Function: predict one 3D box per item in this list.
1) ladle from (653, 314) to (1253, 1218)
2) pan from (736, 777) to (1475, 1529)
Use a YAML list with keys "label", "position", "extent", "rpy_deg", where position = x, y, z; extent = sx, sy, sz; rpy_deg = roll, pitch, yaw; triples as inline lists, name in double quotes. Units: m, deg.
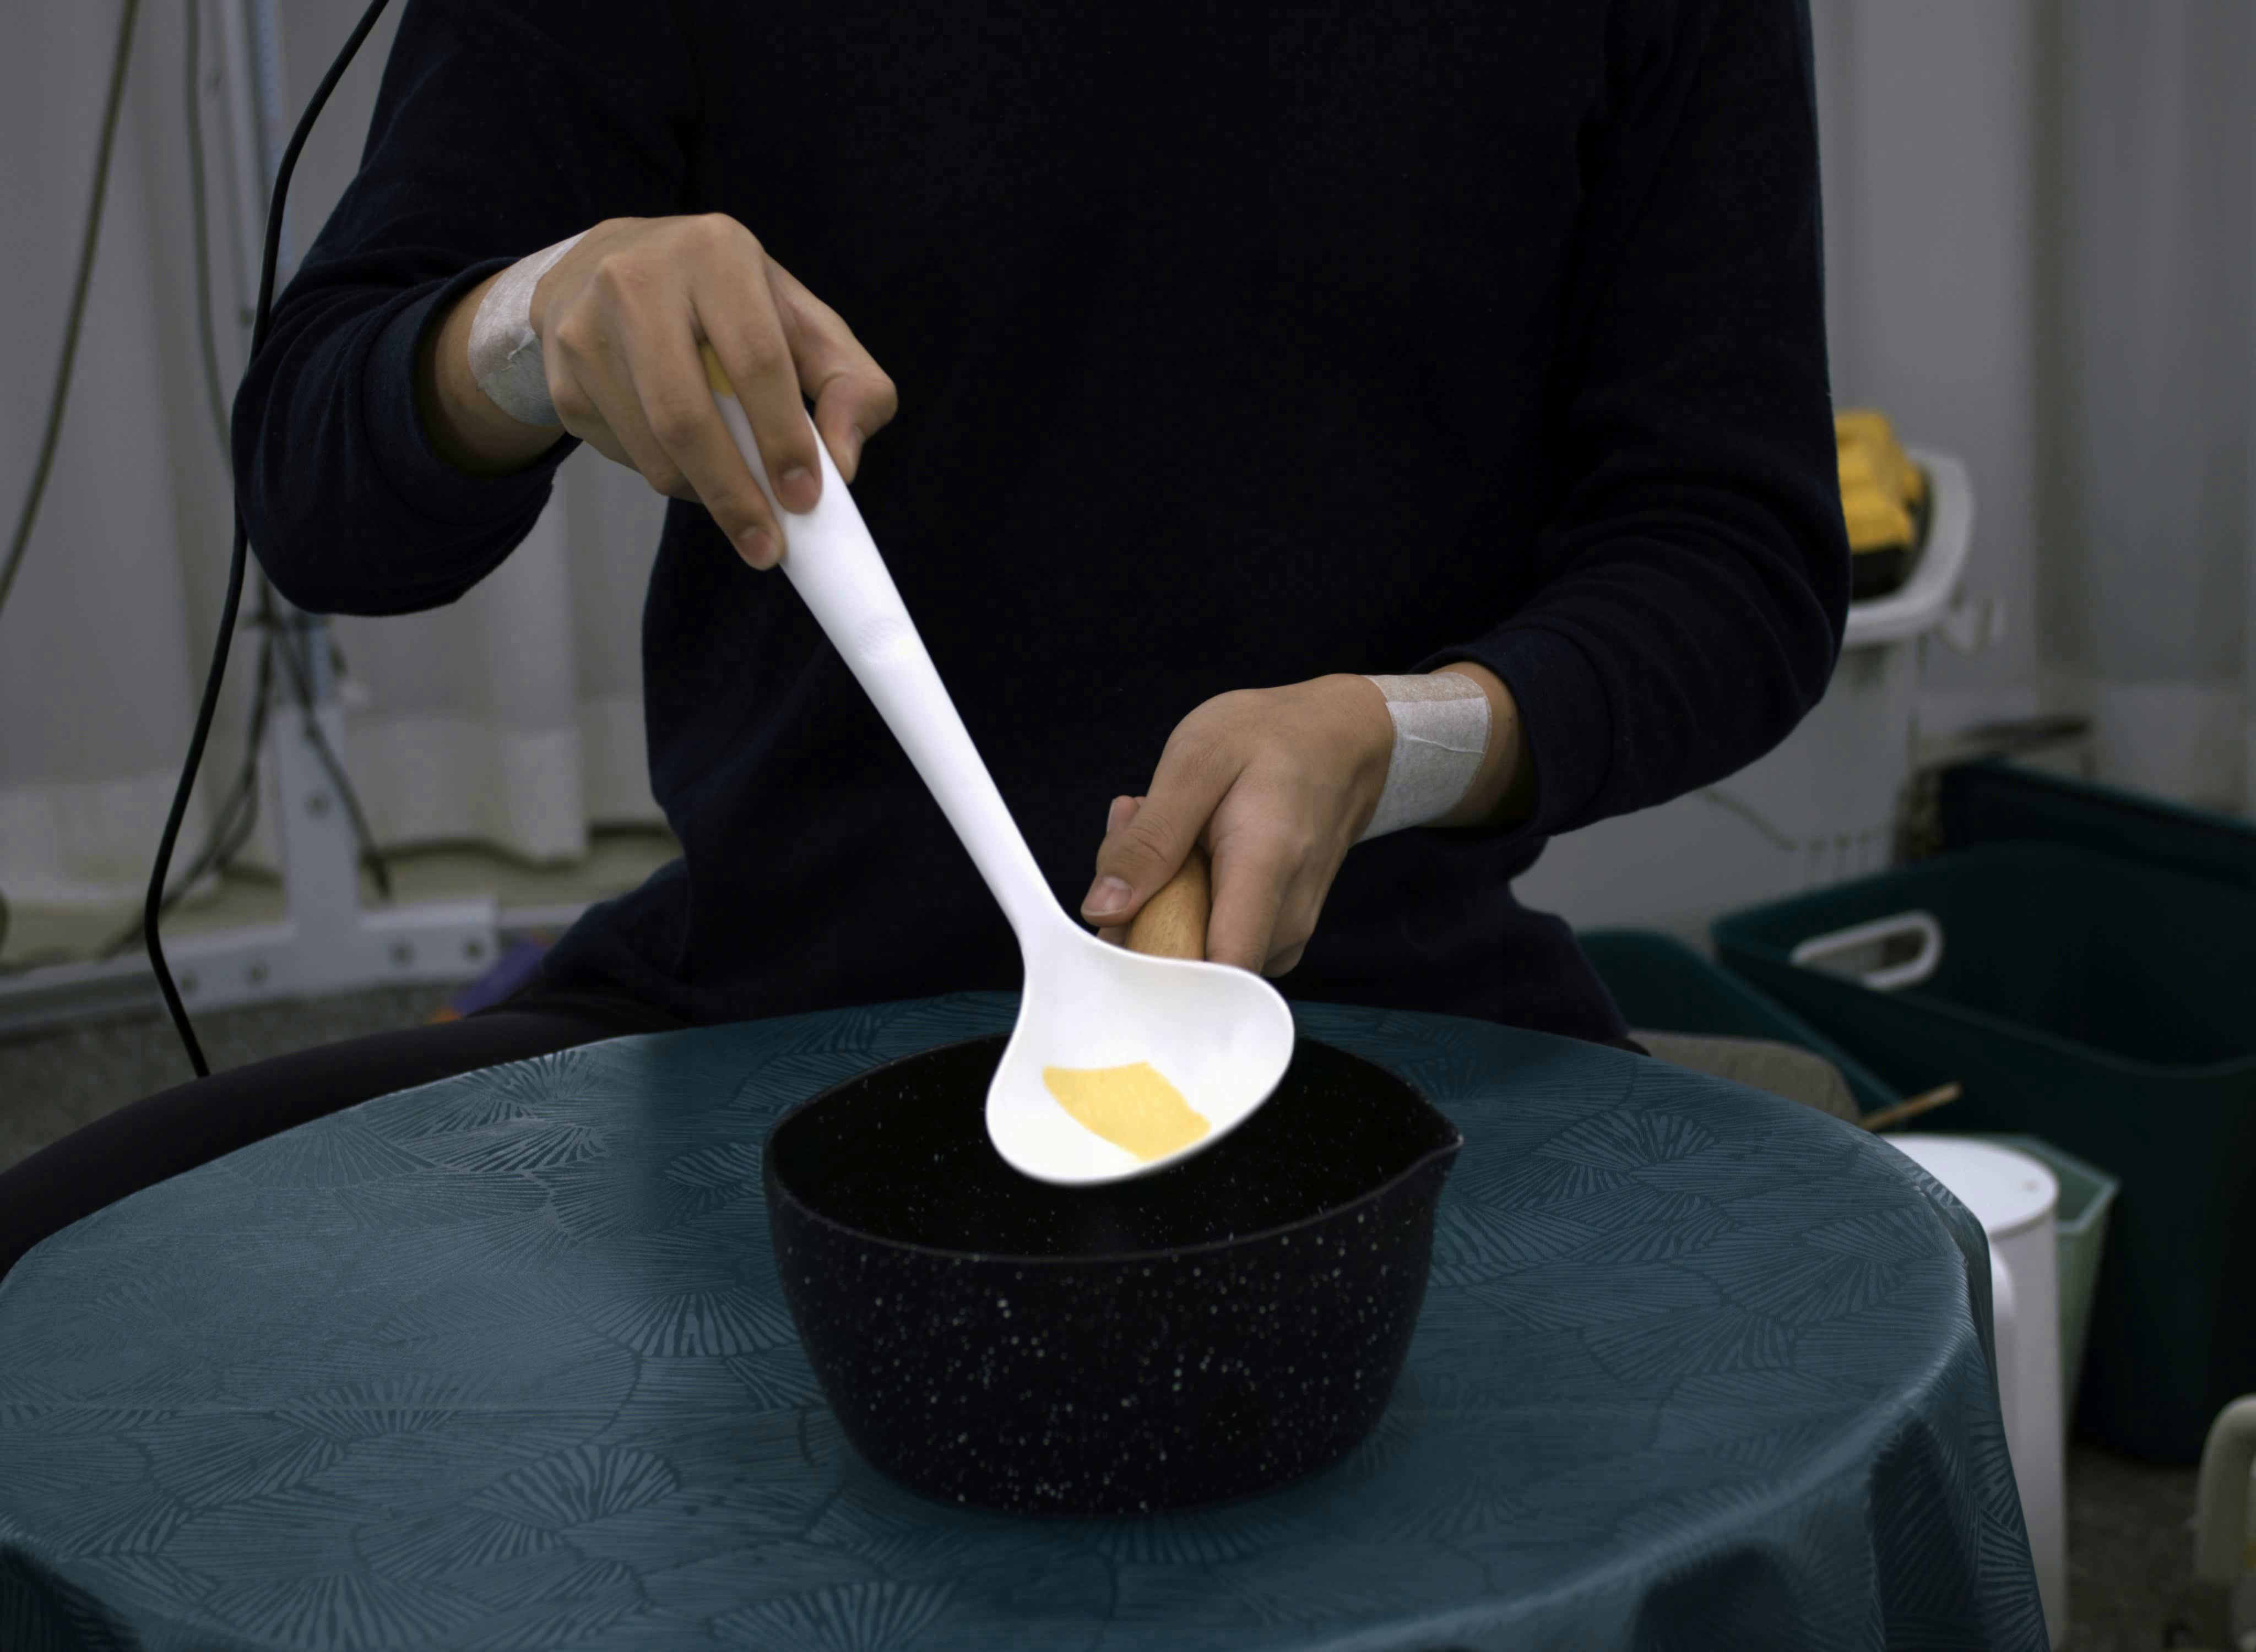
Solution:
- label: "ladle"
  position: [-0.059, -0.021, 1.545]
  extent: [0.090, 0.295, 0.069]
  rpy_deg: [-29, -15, 1]
- label: "pan"
  position: [0.001, 0.089, 1.584]
  extent: [0.207, 0.107, 0.345]
  rpy_deg: [-2, 18, 6]
